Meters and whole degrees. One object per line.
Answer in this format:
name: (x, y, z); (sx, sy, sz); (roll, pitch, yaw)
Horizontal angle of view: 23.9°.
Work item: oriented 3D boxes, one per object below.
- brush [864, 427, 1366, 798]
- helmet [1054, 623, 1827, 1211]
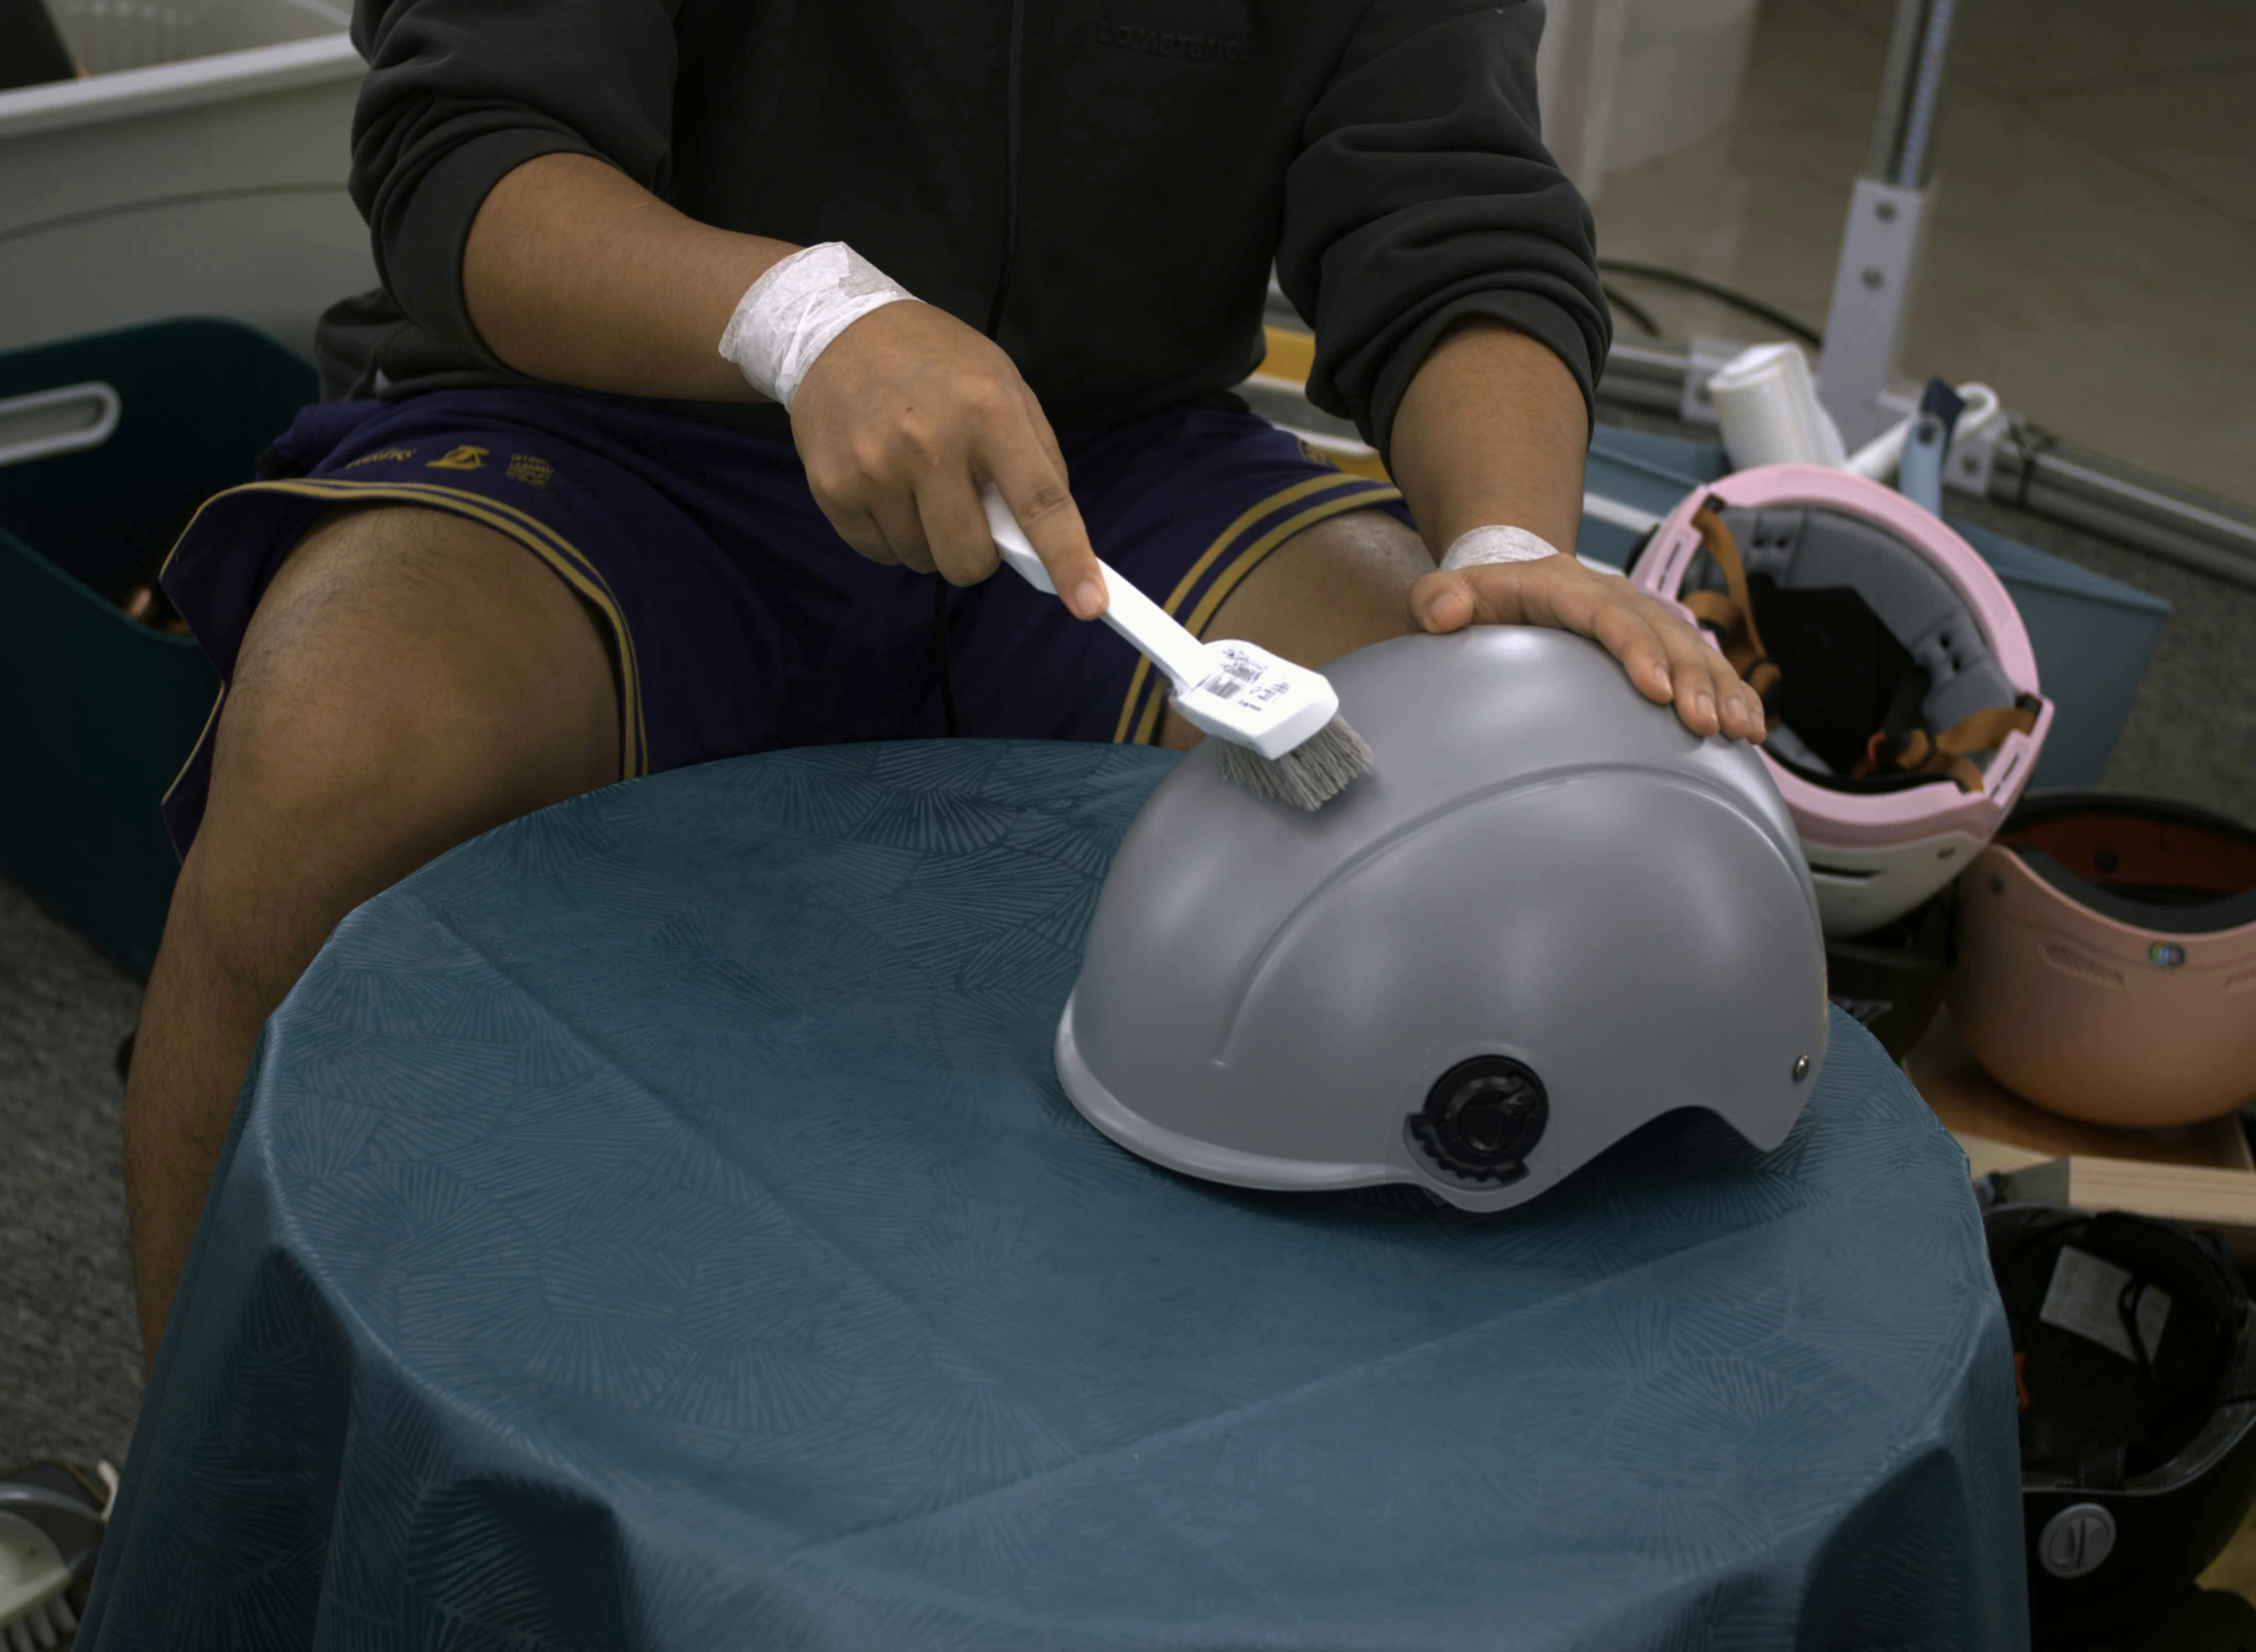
brush: (-0.007, -0.074, 1.850); (0.034, 0.050, 0.246); (-42, 47, -16)
helmet: (0.114, 0.017, 1.862); (0.274, 0.168, 0.234); (-6, 27, -21)
